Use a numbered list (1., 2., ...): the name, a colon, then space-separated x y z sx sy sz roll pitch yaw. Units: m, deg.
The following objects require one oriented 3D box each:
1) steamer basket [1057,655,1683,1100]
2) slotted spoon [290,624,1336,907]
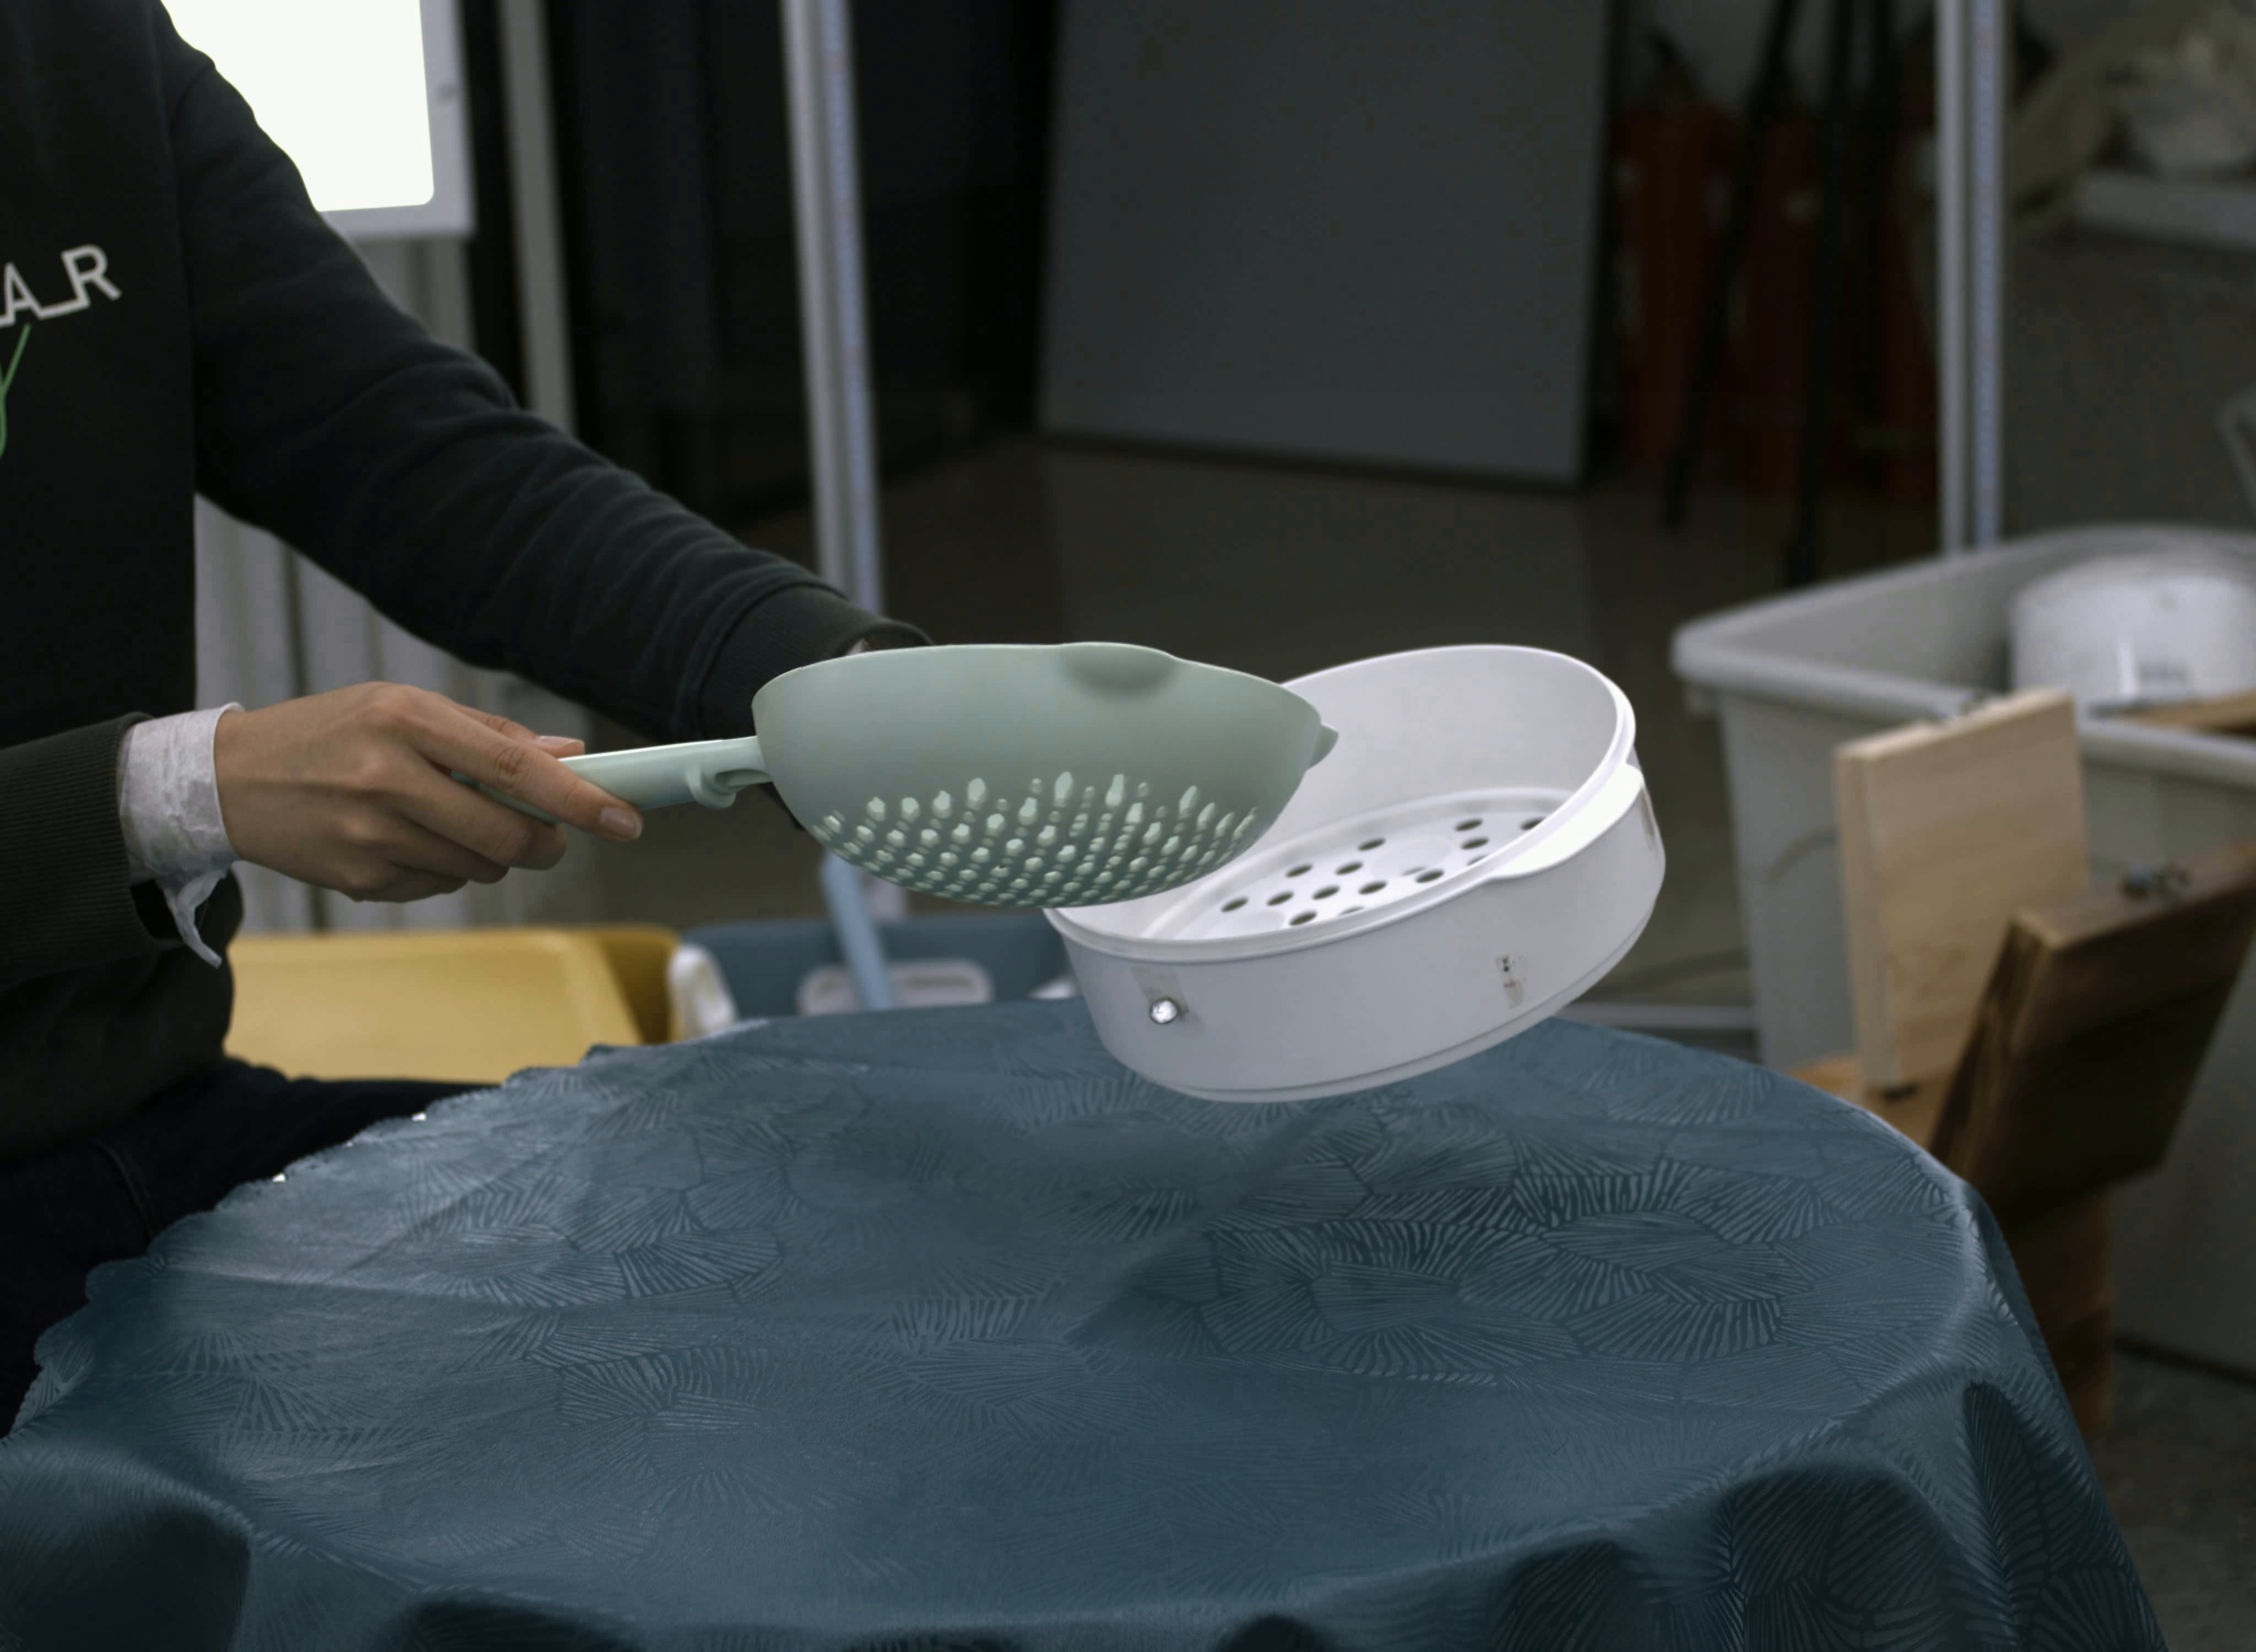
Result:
1. steamer basket: 0.080 0.016 1.725 0.232 0.069 0.199 4 29 43
2. slotted spoon: -0.111 -0.015 1.647 0.360 0.076 0.166 3 -12 33
